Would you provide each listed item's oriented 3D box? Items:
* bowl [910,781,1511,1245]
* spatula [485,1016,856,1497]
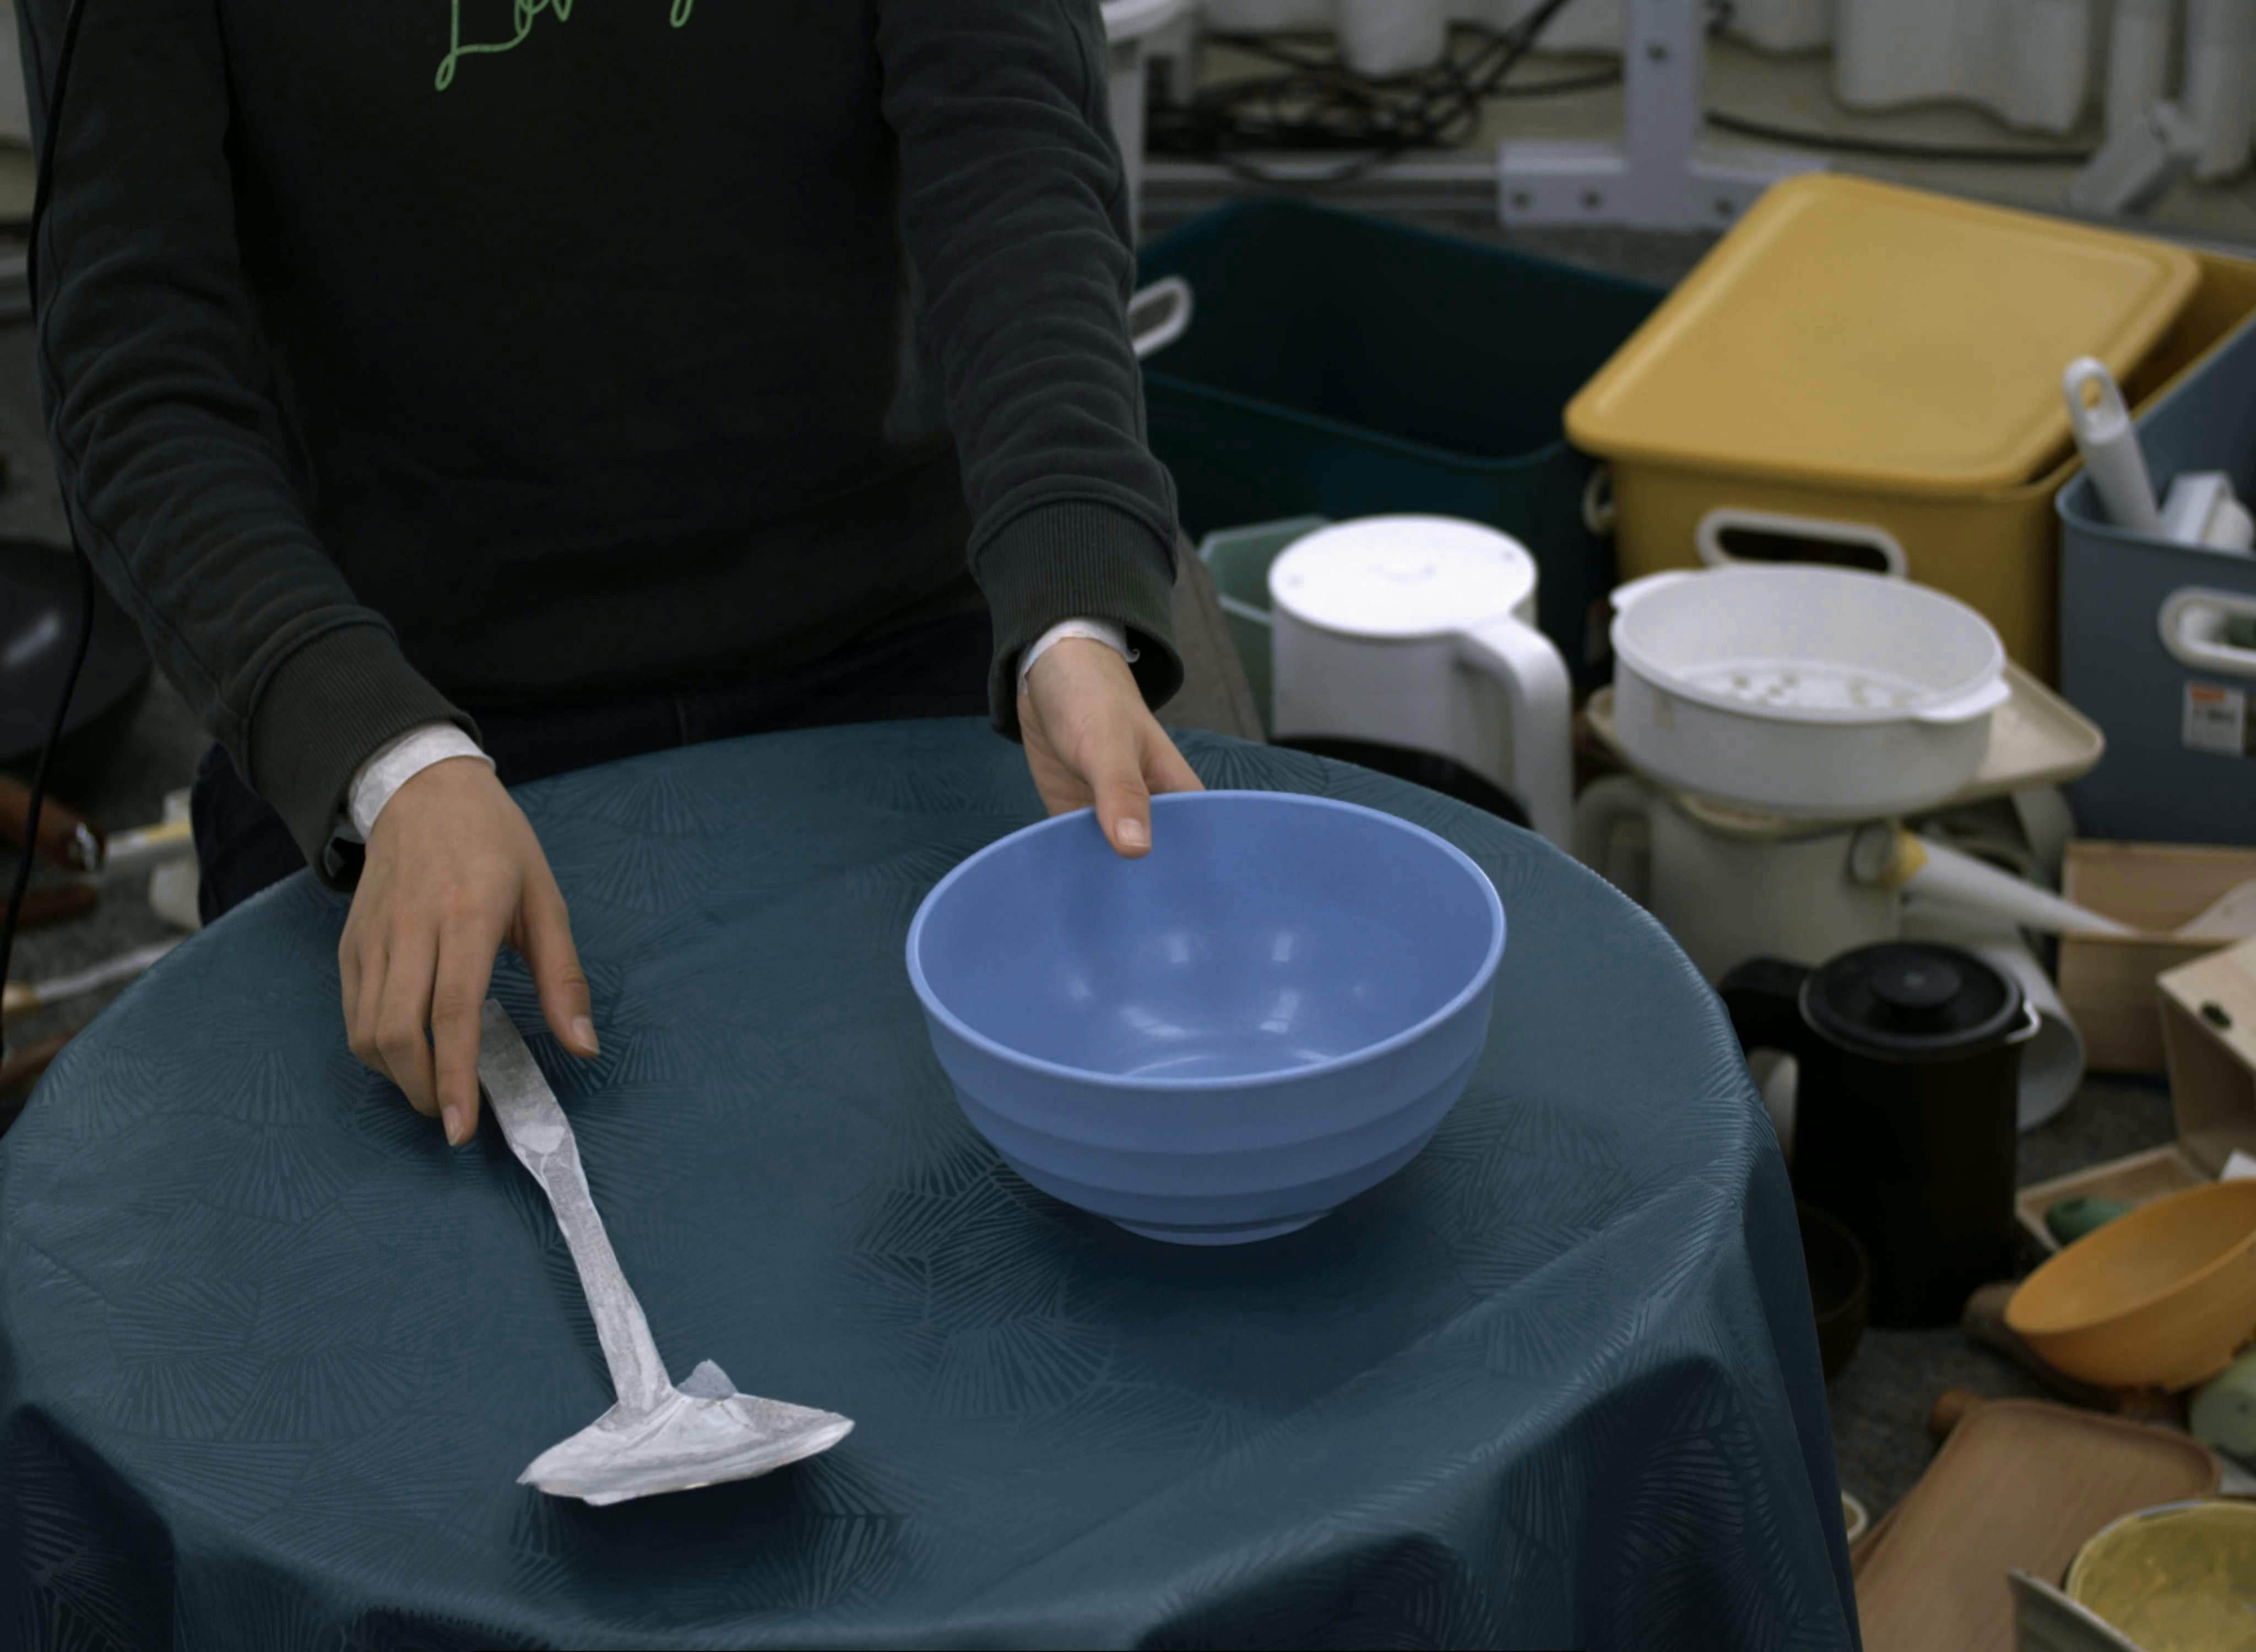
[{"bbox_3d":[0.029,0.073,1.848,0.195,0.094,0.199,-2,29,2],"label":"bowl"},{"bbox_3d":[-0.172,0.131,1.818,0.099,0.044,0.368,-12,29,-12],"label":"spatula"}]
